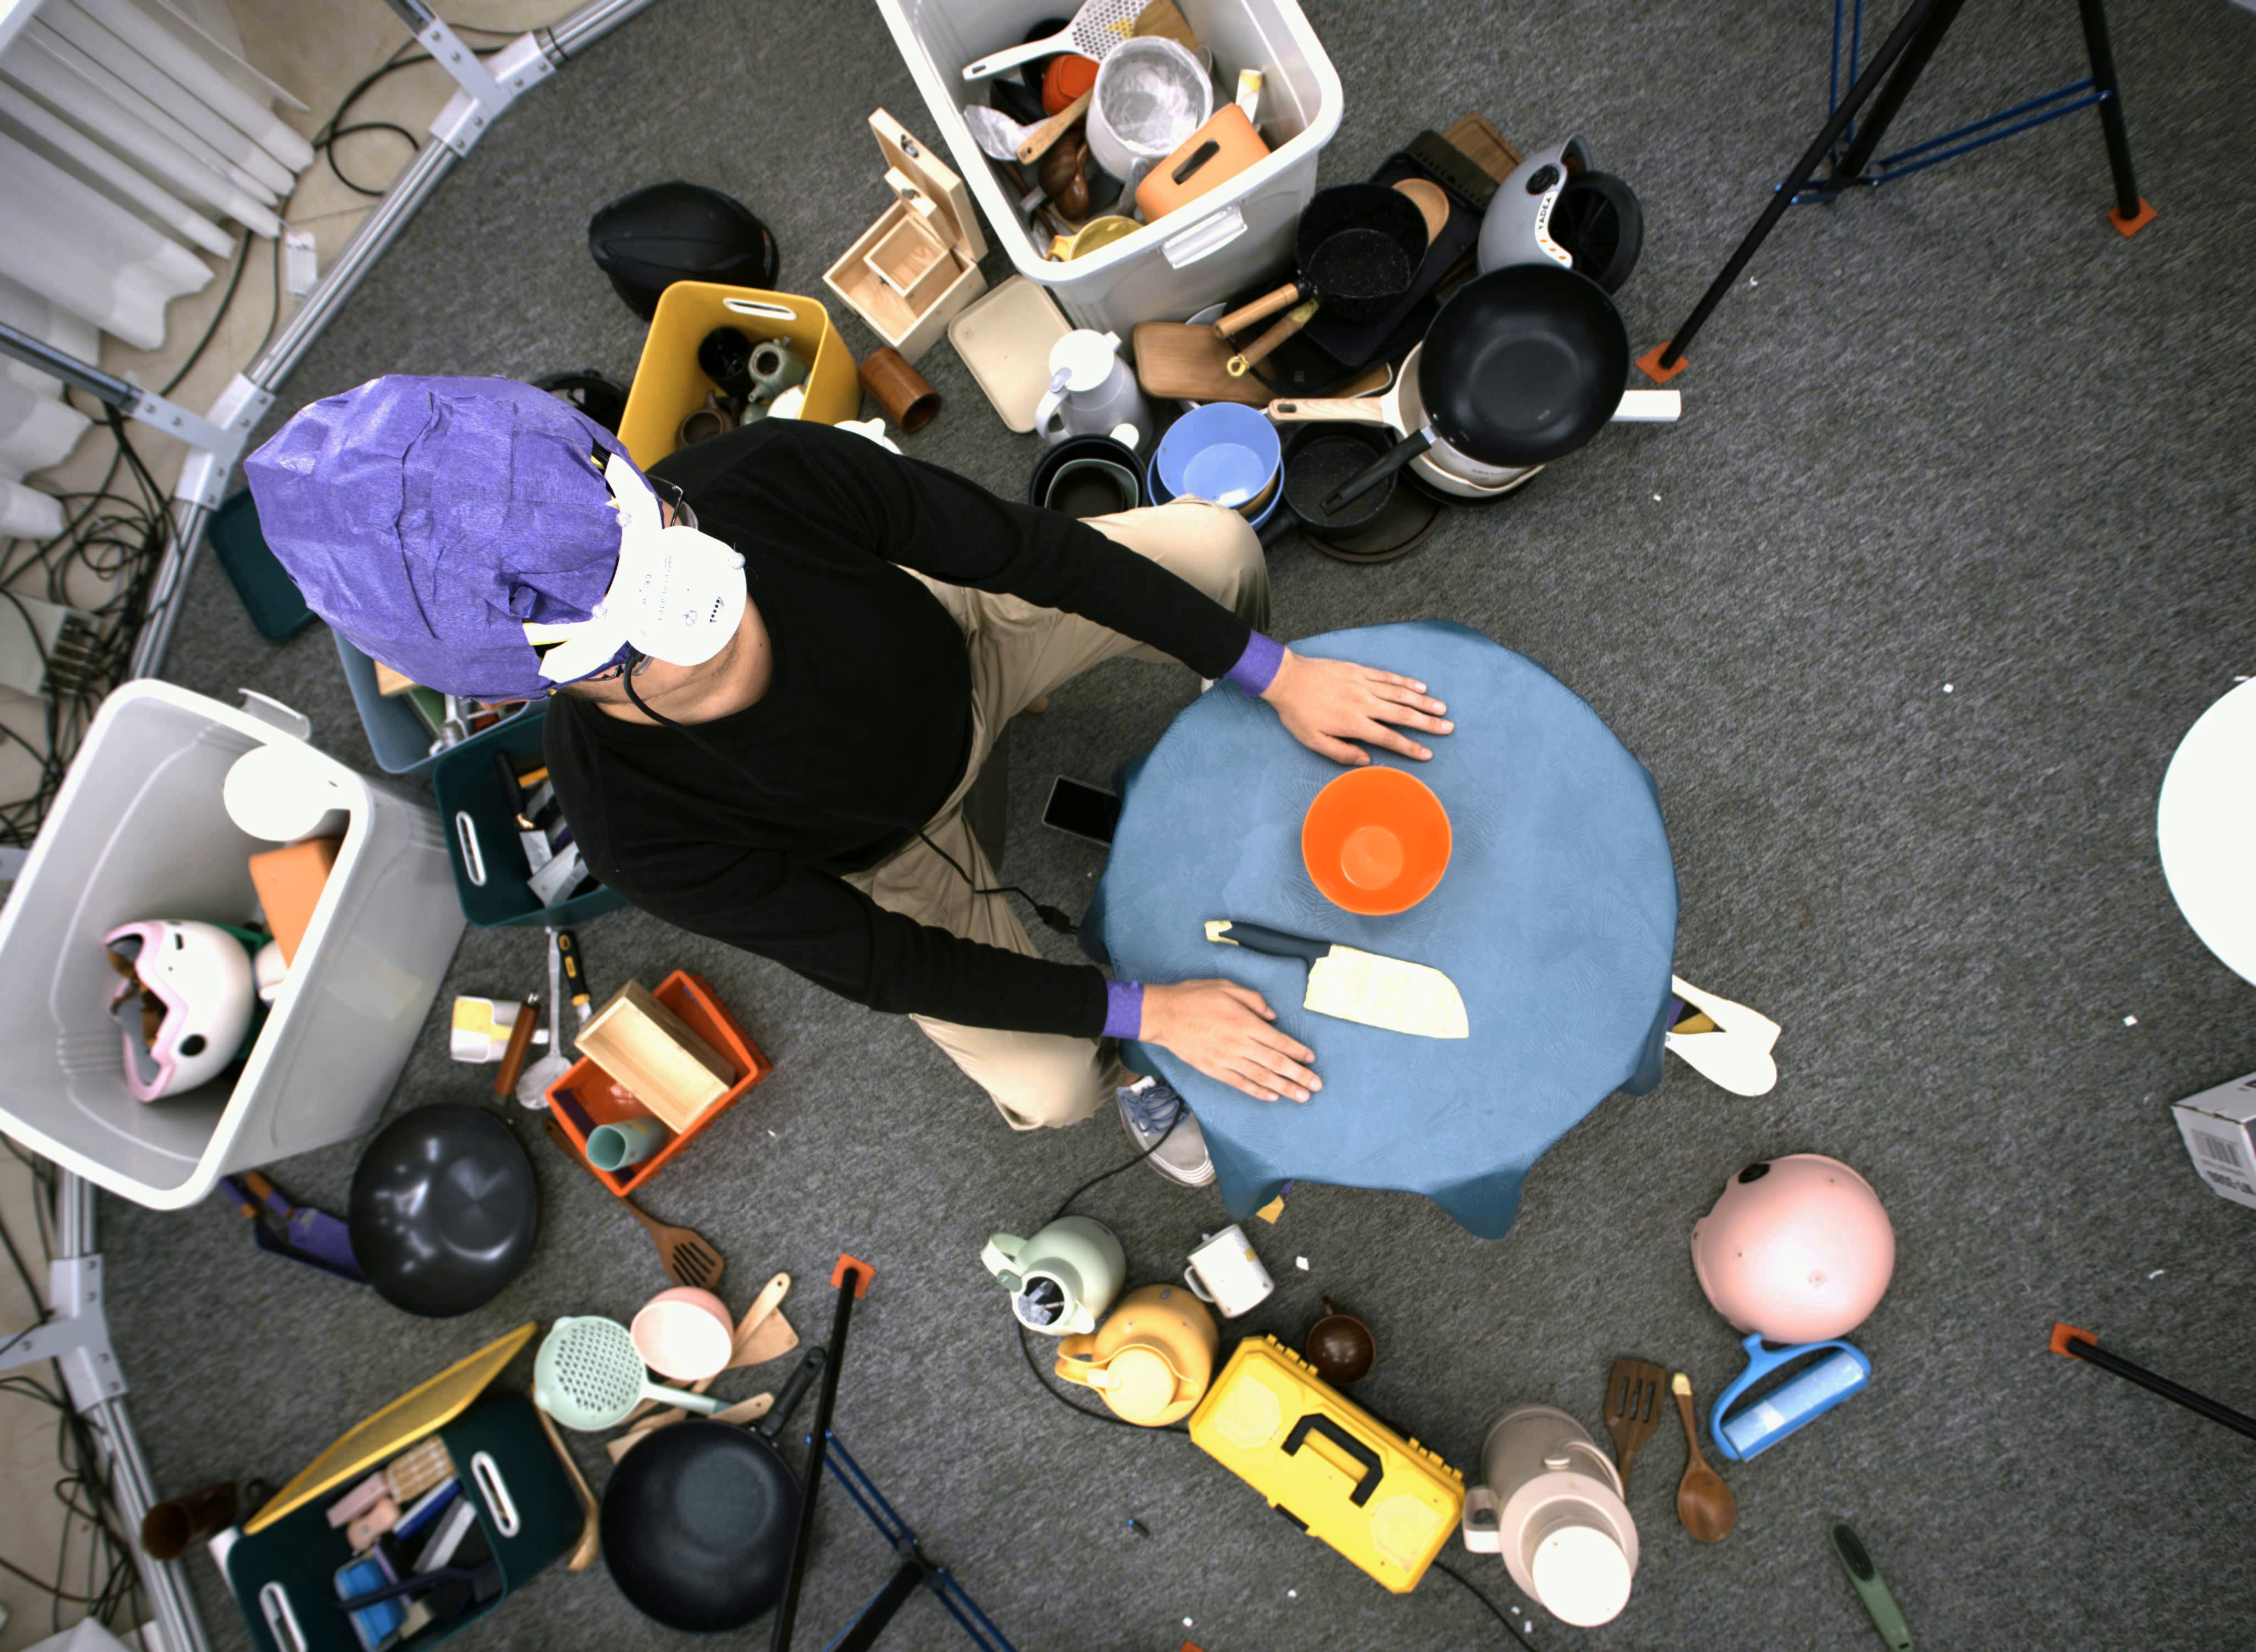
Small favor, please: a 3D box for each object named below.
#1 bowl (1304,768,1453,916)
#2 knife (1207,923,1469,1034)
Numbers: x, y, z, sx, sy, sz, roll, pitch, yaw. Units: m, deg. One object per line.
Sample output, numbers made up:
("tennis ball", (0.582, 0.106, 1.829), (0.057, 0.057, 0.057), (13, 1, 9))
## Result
("bowl", (0.255, 0.019, 1.415), (0.148, 0.104, 0.147), (-1, 87, 9))
("knife", (0.218, 0.158, 1.460), (0.290, 0.027, 0.081), (16, 88, 10))
